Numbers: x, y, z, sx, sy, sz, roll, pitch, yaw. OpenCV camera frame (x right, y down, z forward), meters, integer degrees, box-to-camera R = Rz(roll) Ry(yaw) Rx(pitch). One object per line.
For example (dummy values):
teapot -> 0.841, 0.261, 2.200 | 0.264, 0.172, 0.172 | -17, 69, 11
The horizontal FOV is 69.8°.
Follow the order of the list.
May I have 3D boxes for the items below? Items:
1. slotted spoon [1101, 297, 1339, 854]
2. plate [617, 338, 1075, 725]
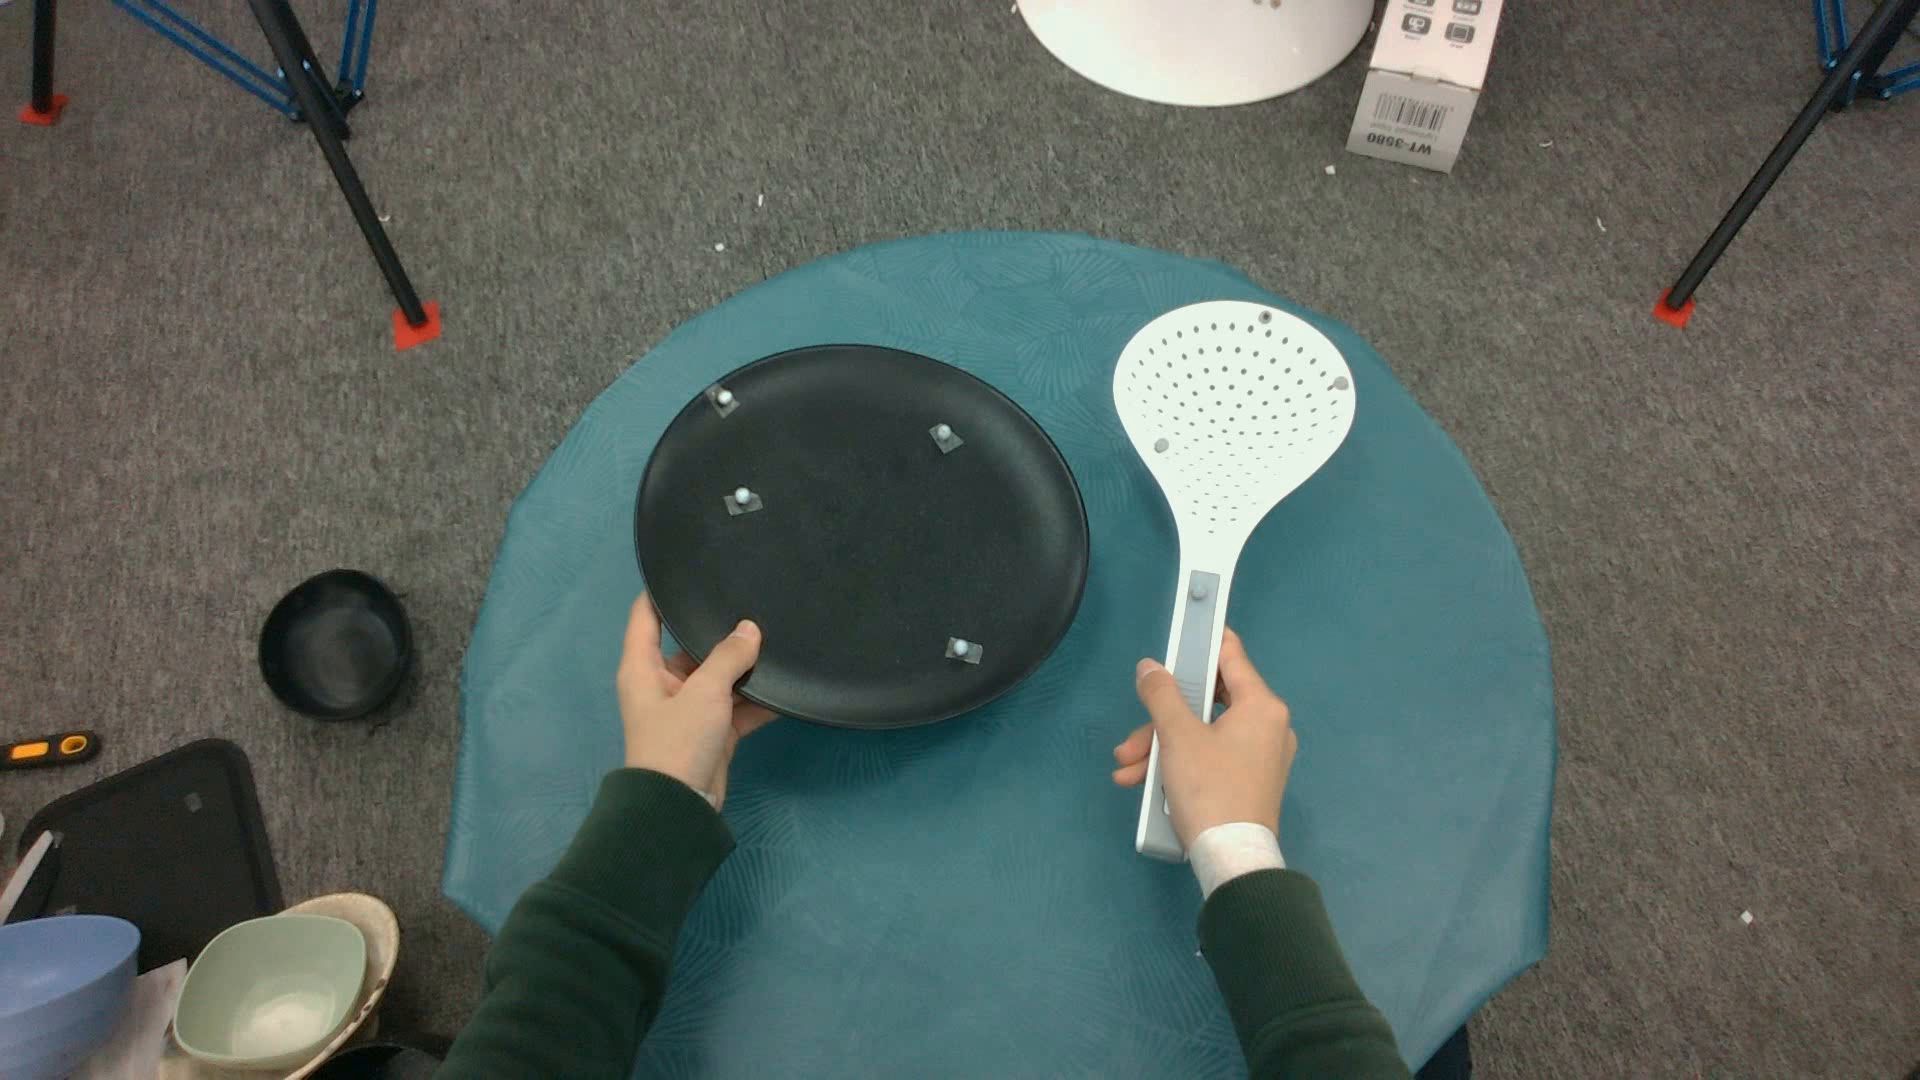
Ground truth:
slotted spoon -> 0.126, 0.002, 0.738 | 0.136, 0.045, 0.351 | 9, 52, 9
plate -> -0.059, -0.009, 0.740 | 0.244, 0.023, 0.245 | 5, 57, -8
